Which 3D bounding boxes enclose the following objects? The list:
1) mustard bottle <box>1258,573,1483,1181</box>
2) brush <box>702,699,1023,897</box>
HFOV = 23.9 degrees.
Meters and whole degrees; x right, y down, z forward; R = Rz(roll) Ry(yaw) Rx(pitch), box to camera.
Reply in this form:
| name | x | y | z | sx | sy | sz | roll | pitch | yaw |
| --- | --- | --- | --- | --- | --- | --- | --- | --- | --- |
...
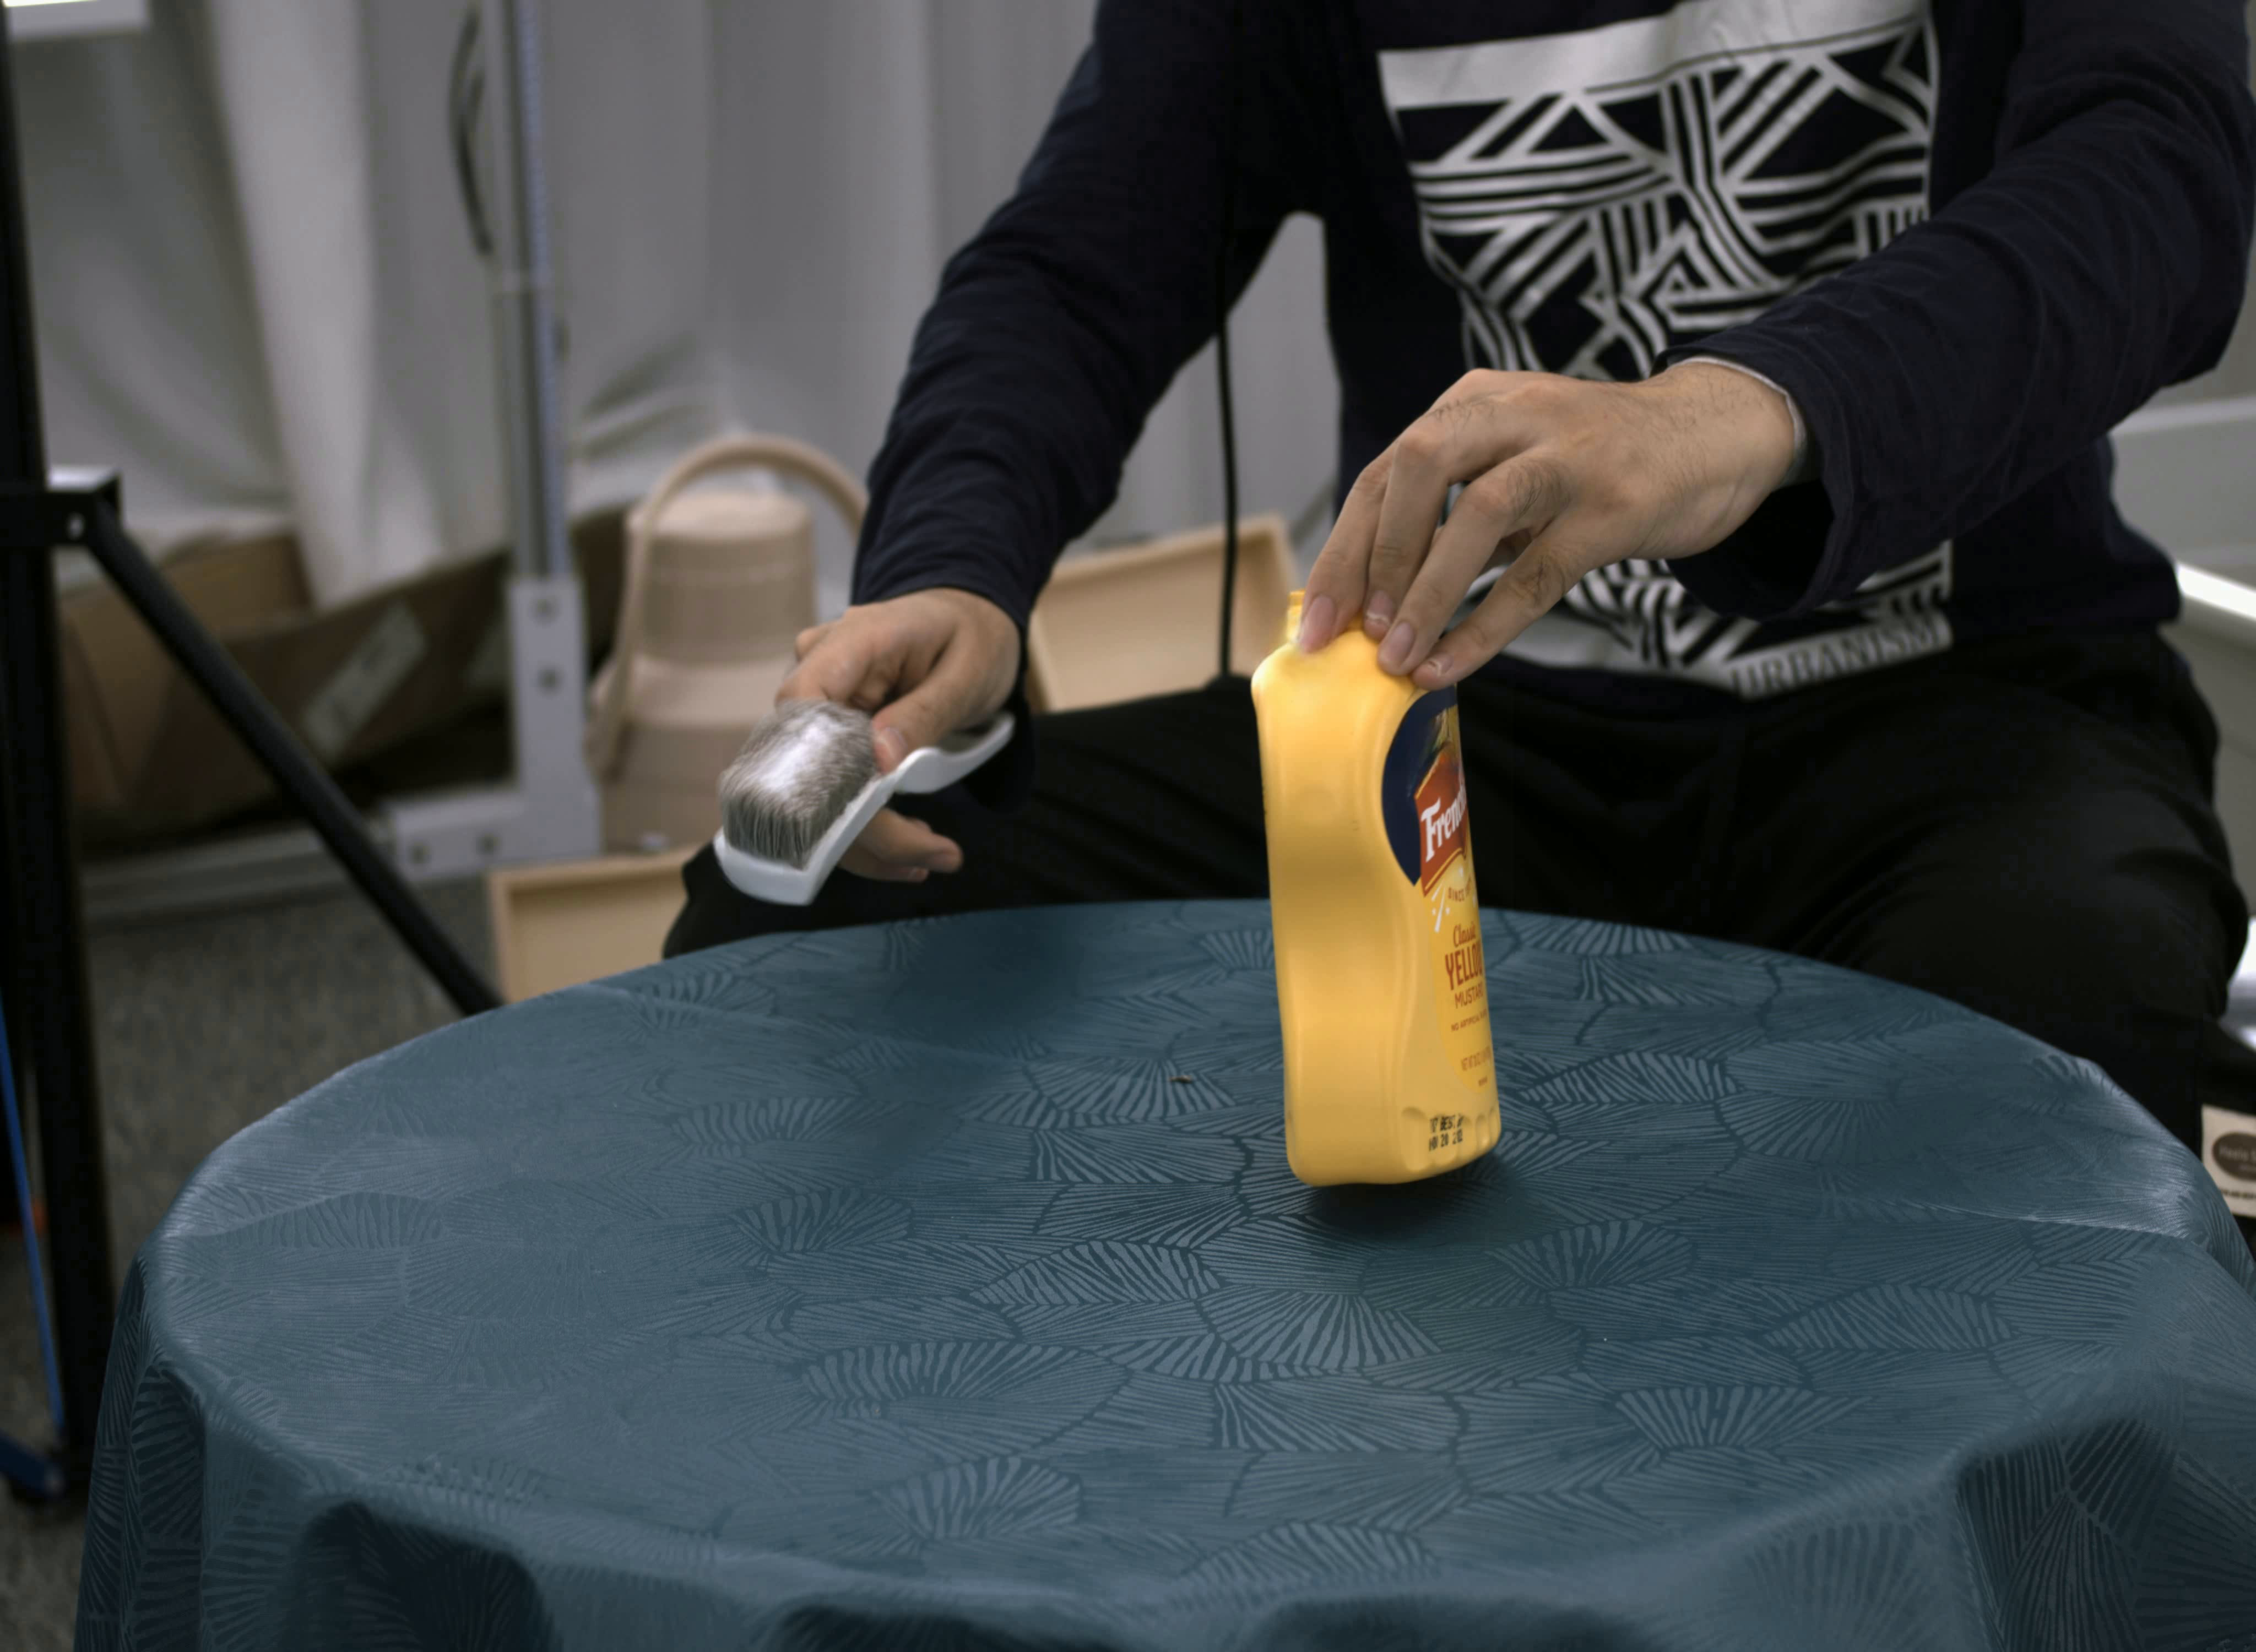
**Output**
| name | x | y | z | sx | sy | sz | roll | pitch | yaw |
| --- | --- | --- | --- | --- | --- | --- | --- | --- | --- |
| mustard bottle | 0.071 | 0.013 | 1.544 | 0.060 | 0.172 | 0.097 | -1 | 4 | 14 |
| brush | -0.075 | -0.024 | 1.696 | 0.035 | 0.050 | 0.240 | 22 | 16 | 14 |
